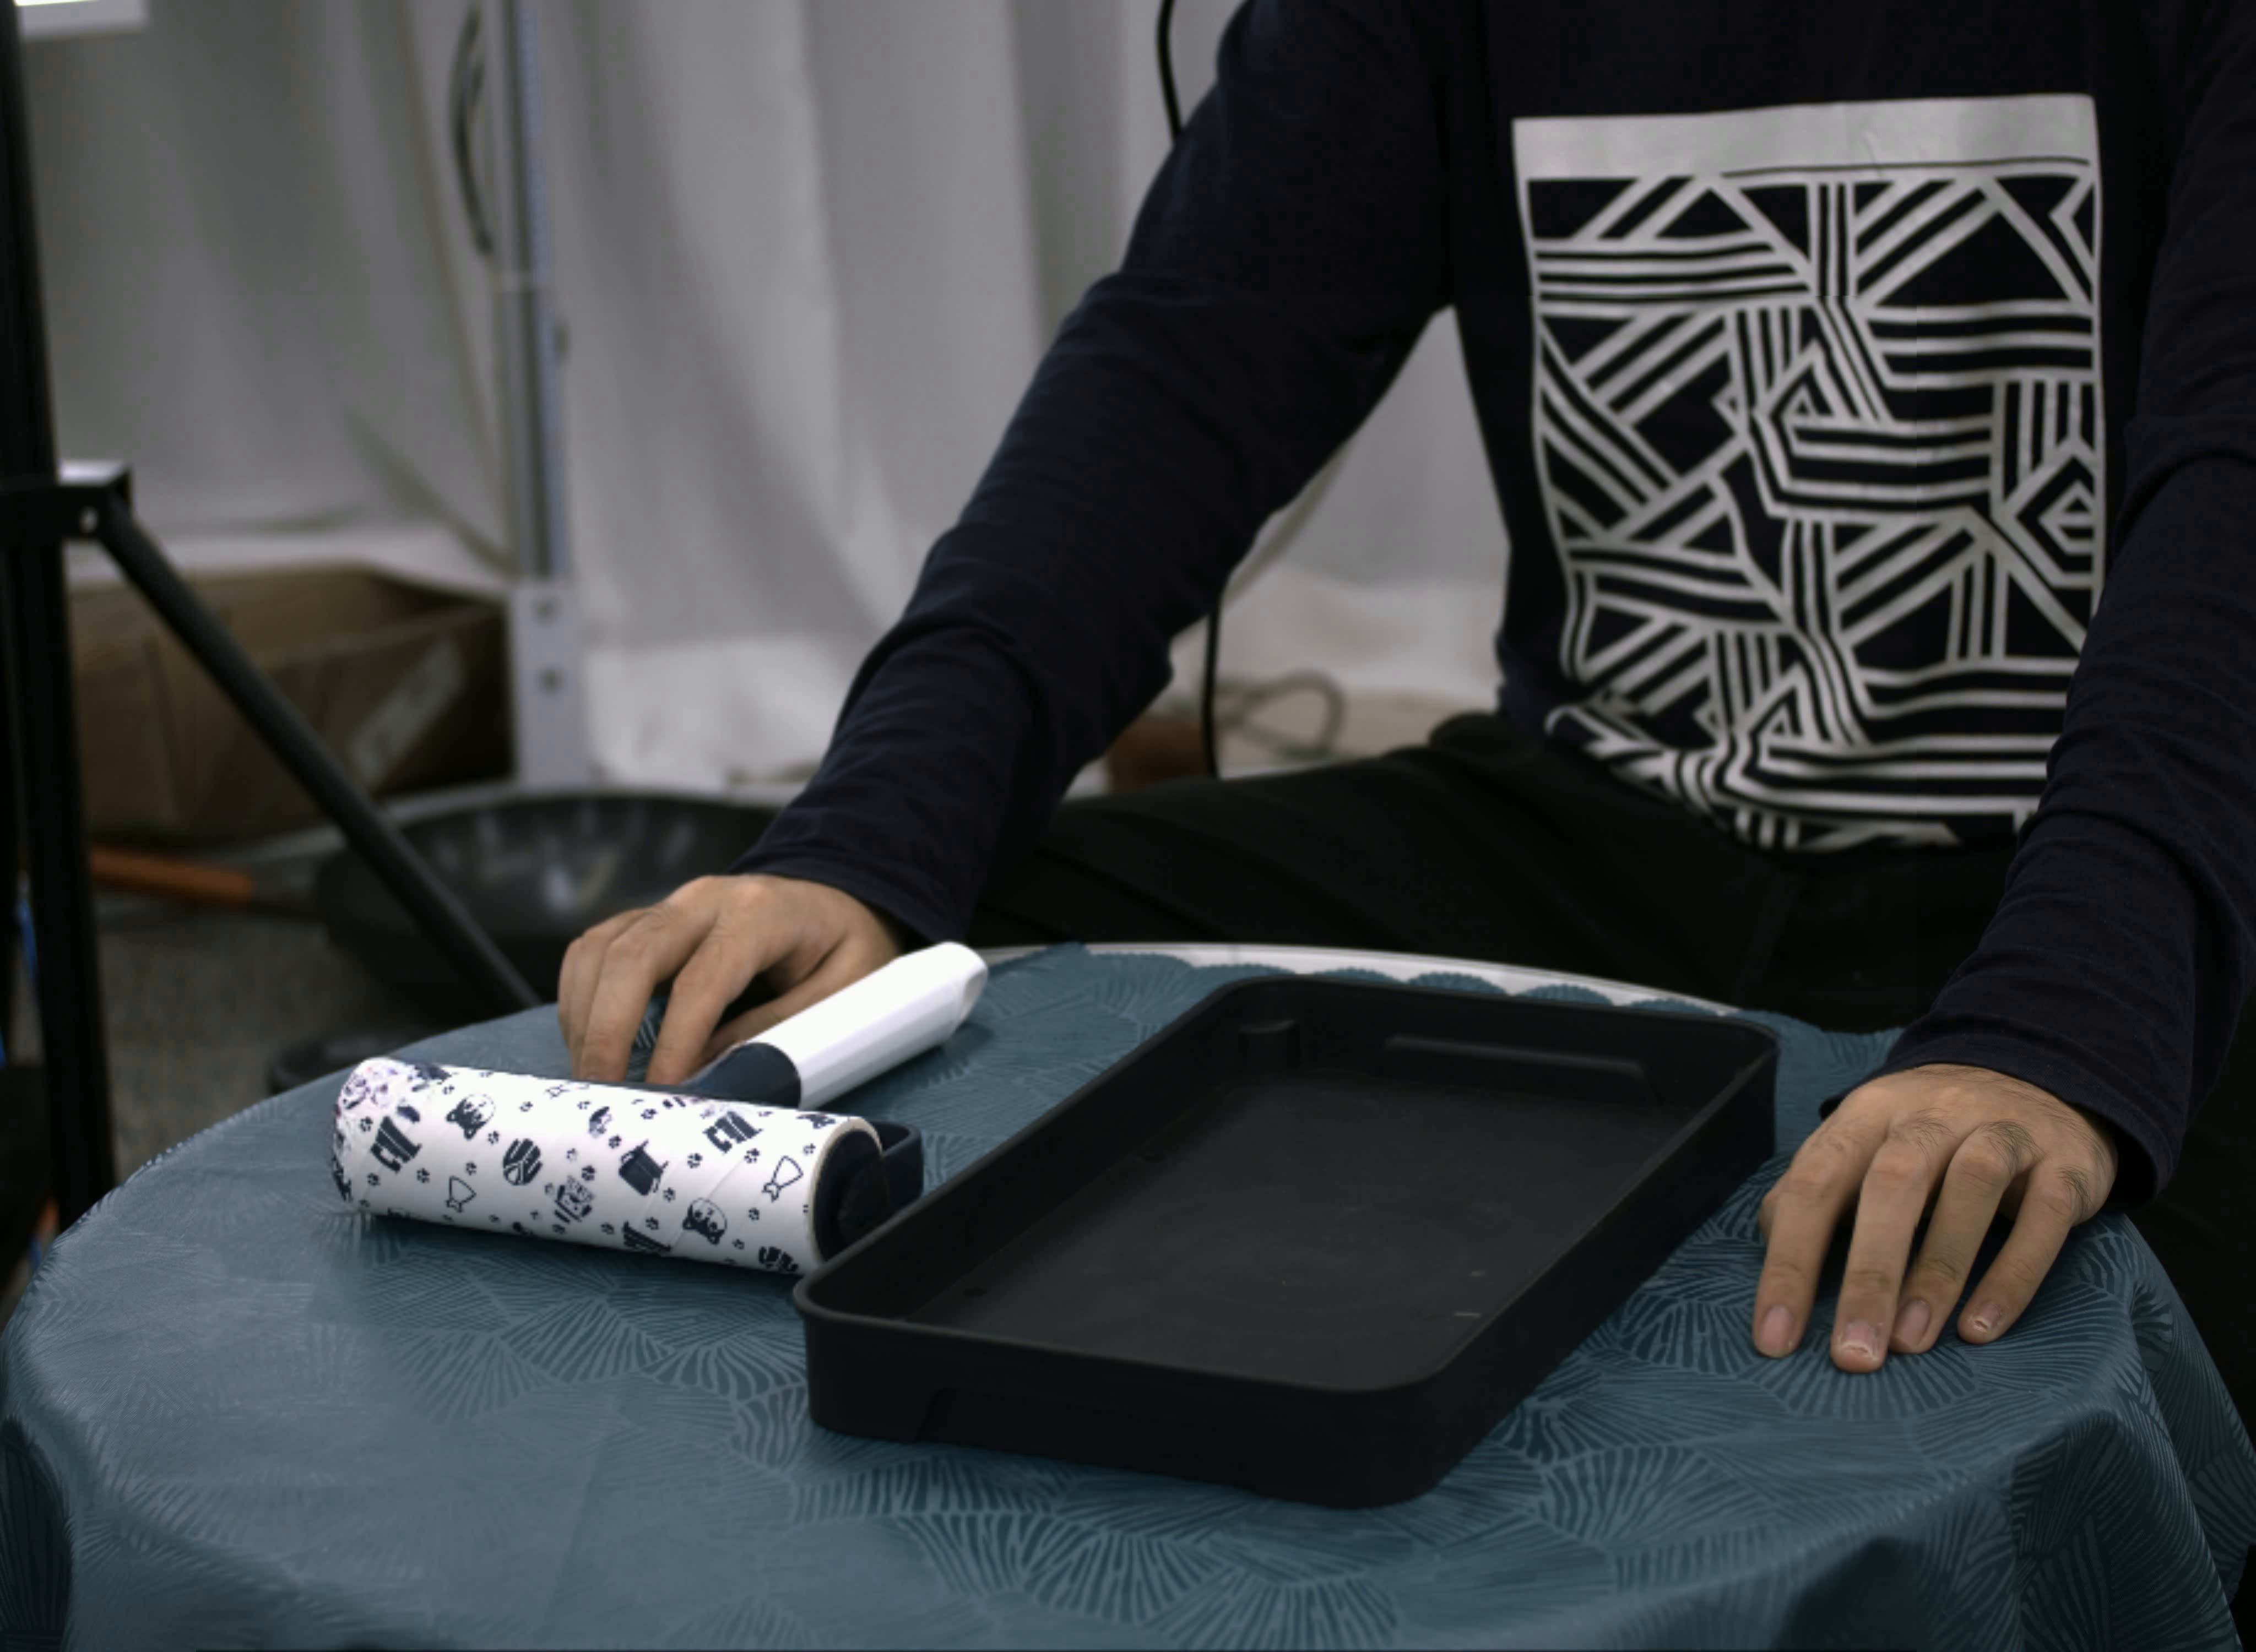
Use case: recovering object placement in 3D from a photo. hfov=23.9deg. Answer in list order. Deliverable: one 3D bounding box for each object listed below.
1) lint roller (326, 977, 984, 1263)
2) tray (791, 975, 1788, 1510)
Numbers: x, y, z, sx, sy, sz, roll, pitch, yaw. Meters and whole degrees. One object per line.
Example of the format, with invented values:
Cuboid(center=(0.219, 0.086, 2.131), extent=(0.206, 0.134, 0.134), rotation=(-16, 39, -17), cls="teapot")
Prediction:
Cuboid(center=(-0.108, 0.075, 1.623), extent=(0.179, 0.050, 0.243), rotation=(4, 14, 26), cls="lint roller")
Cuboid(center=(0.054, 0.109, 1.485), extent=(0.187, 0.037, 0.313), rotation=(6, 17, 25), cls="tray")
